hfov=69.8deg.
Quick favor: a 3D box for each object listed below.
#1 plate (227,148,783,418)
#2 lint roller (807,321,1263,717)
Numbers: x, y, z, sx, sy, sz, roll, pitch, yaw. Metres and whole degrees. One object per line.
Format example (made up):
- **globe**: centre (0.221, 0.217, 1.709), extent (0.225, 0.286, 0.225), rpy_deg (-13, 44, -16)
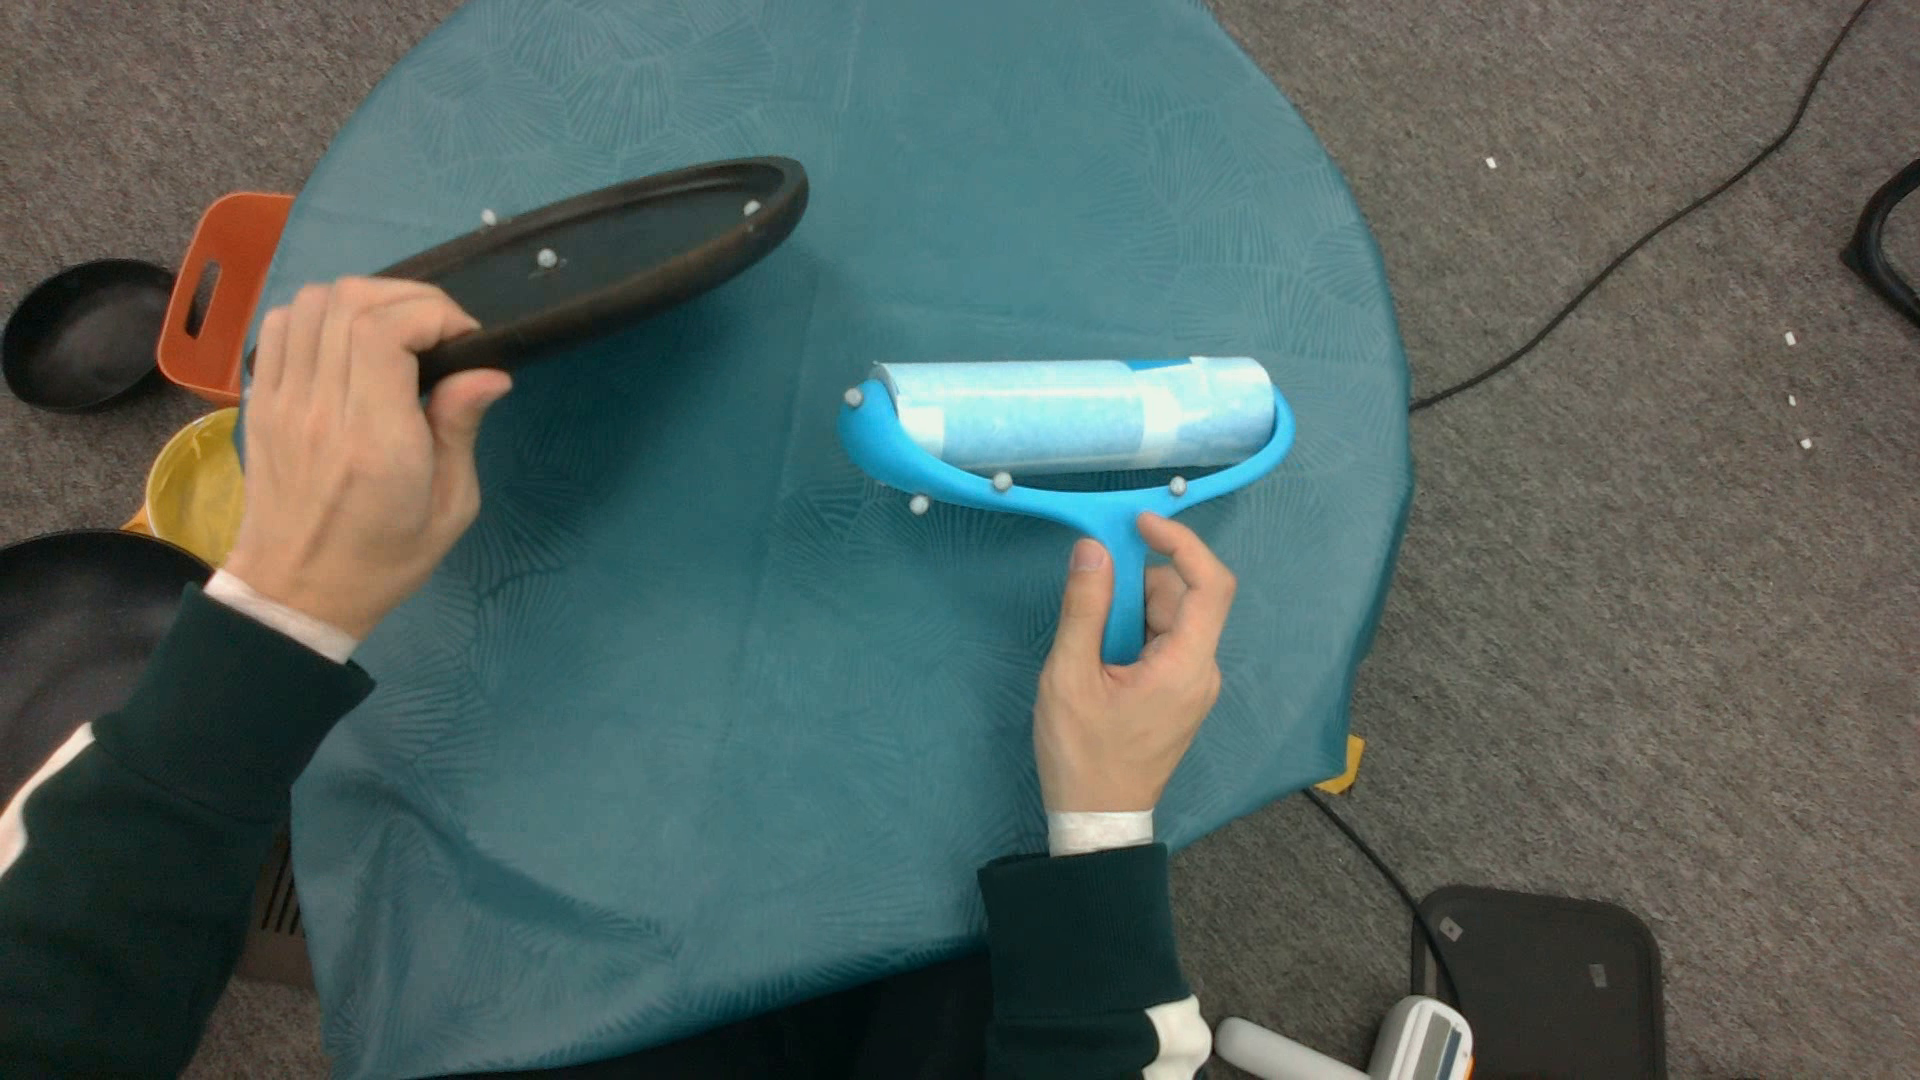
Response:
- **plate**: centre (-0.196, -0.119, 0.612), extent (0.255, 0.255, 0.029), rpy_deg (-26, 115, -11)
- **lint roller**: centre (0.053, -0.011, 0.633), extent (0.229, 0.067, 0.180), rpy_deg (-10, 81, -27)
